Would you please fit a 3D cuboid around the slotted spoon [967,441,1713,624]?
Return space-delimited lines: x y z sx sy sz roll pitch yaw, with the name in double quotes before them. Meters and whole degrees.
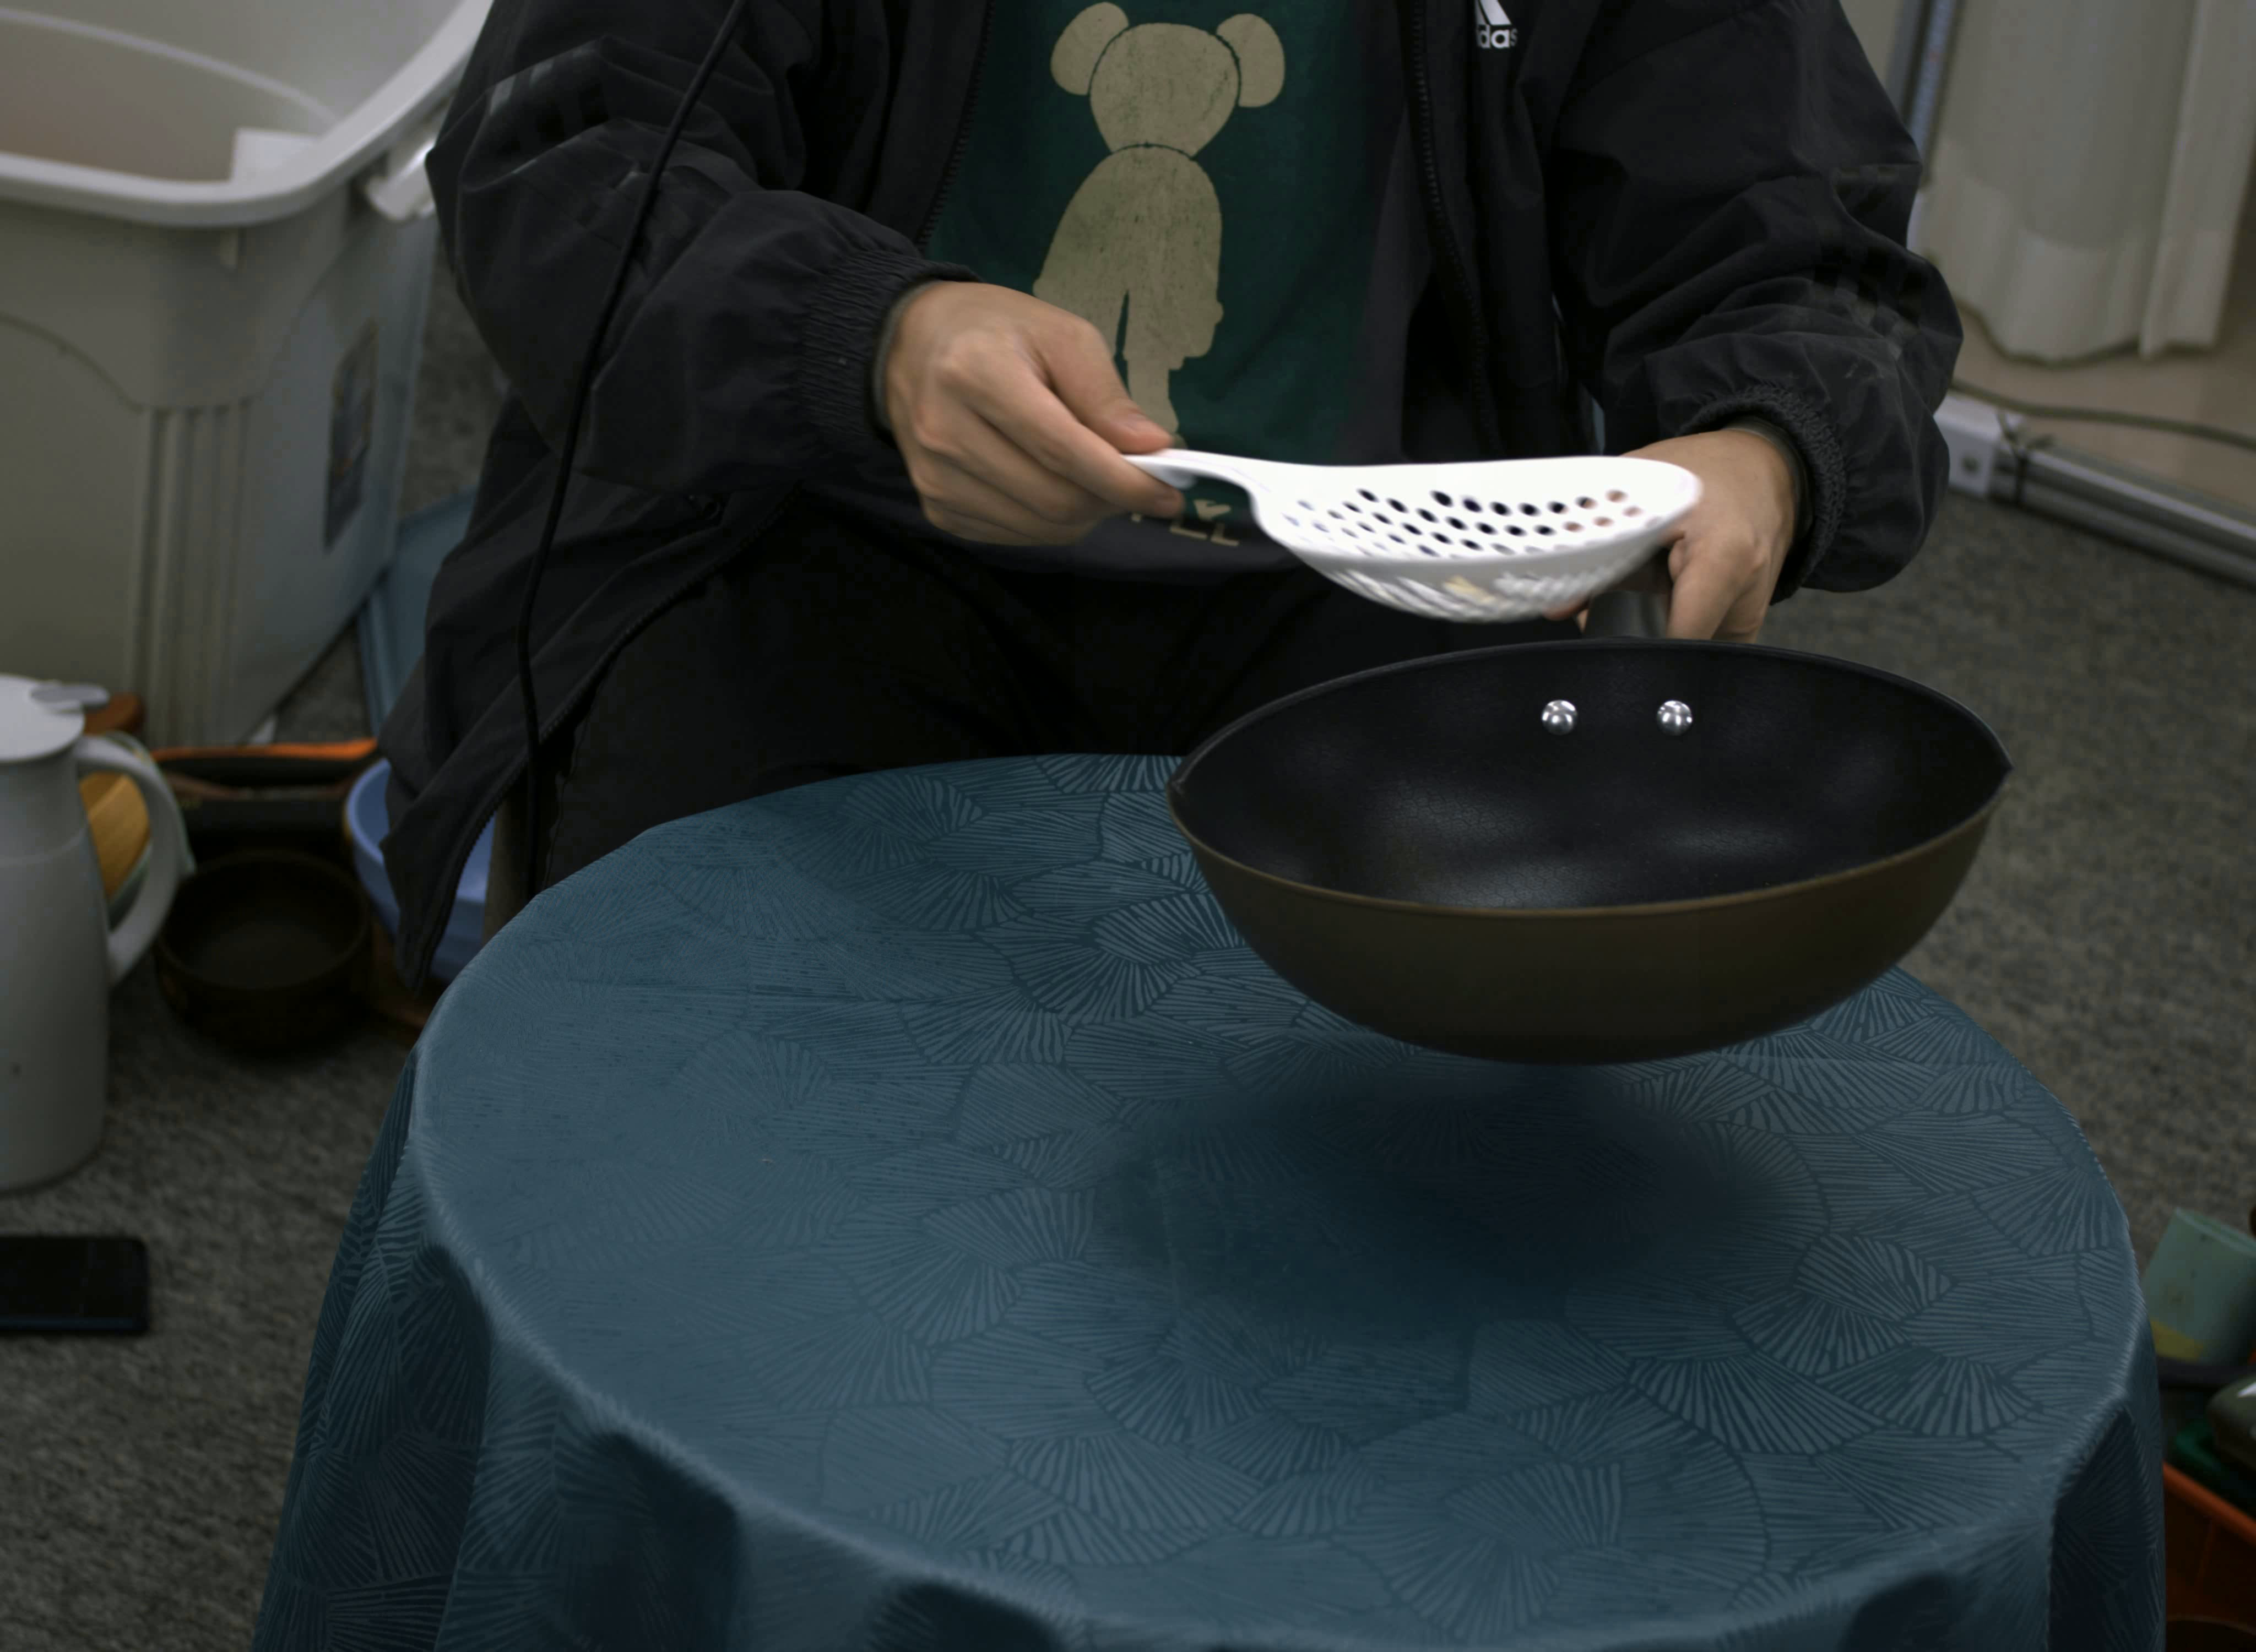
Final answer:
"slotted spoon" 0.058 -0.110 1.868 0.136 0.050 0.350 -22 24 -35

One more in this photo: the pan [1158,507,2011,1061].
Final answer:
"pan" 0.169 -0.015 1.891 0.288 0.086 0.464 -1 19 10
